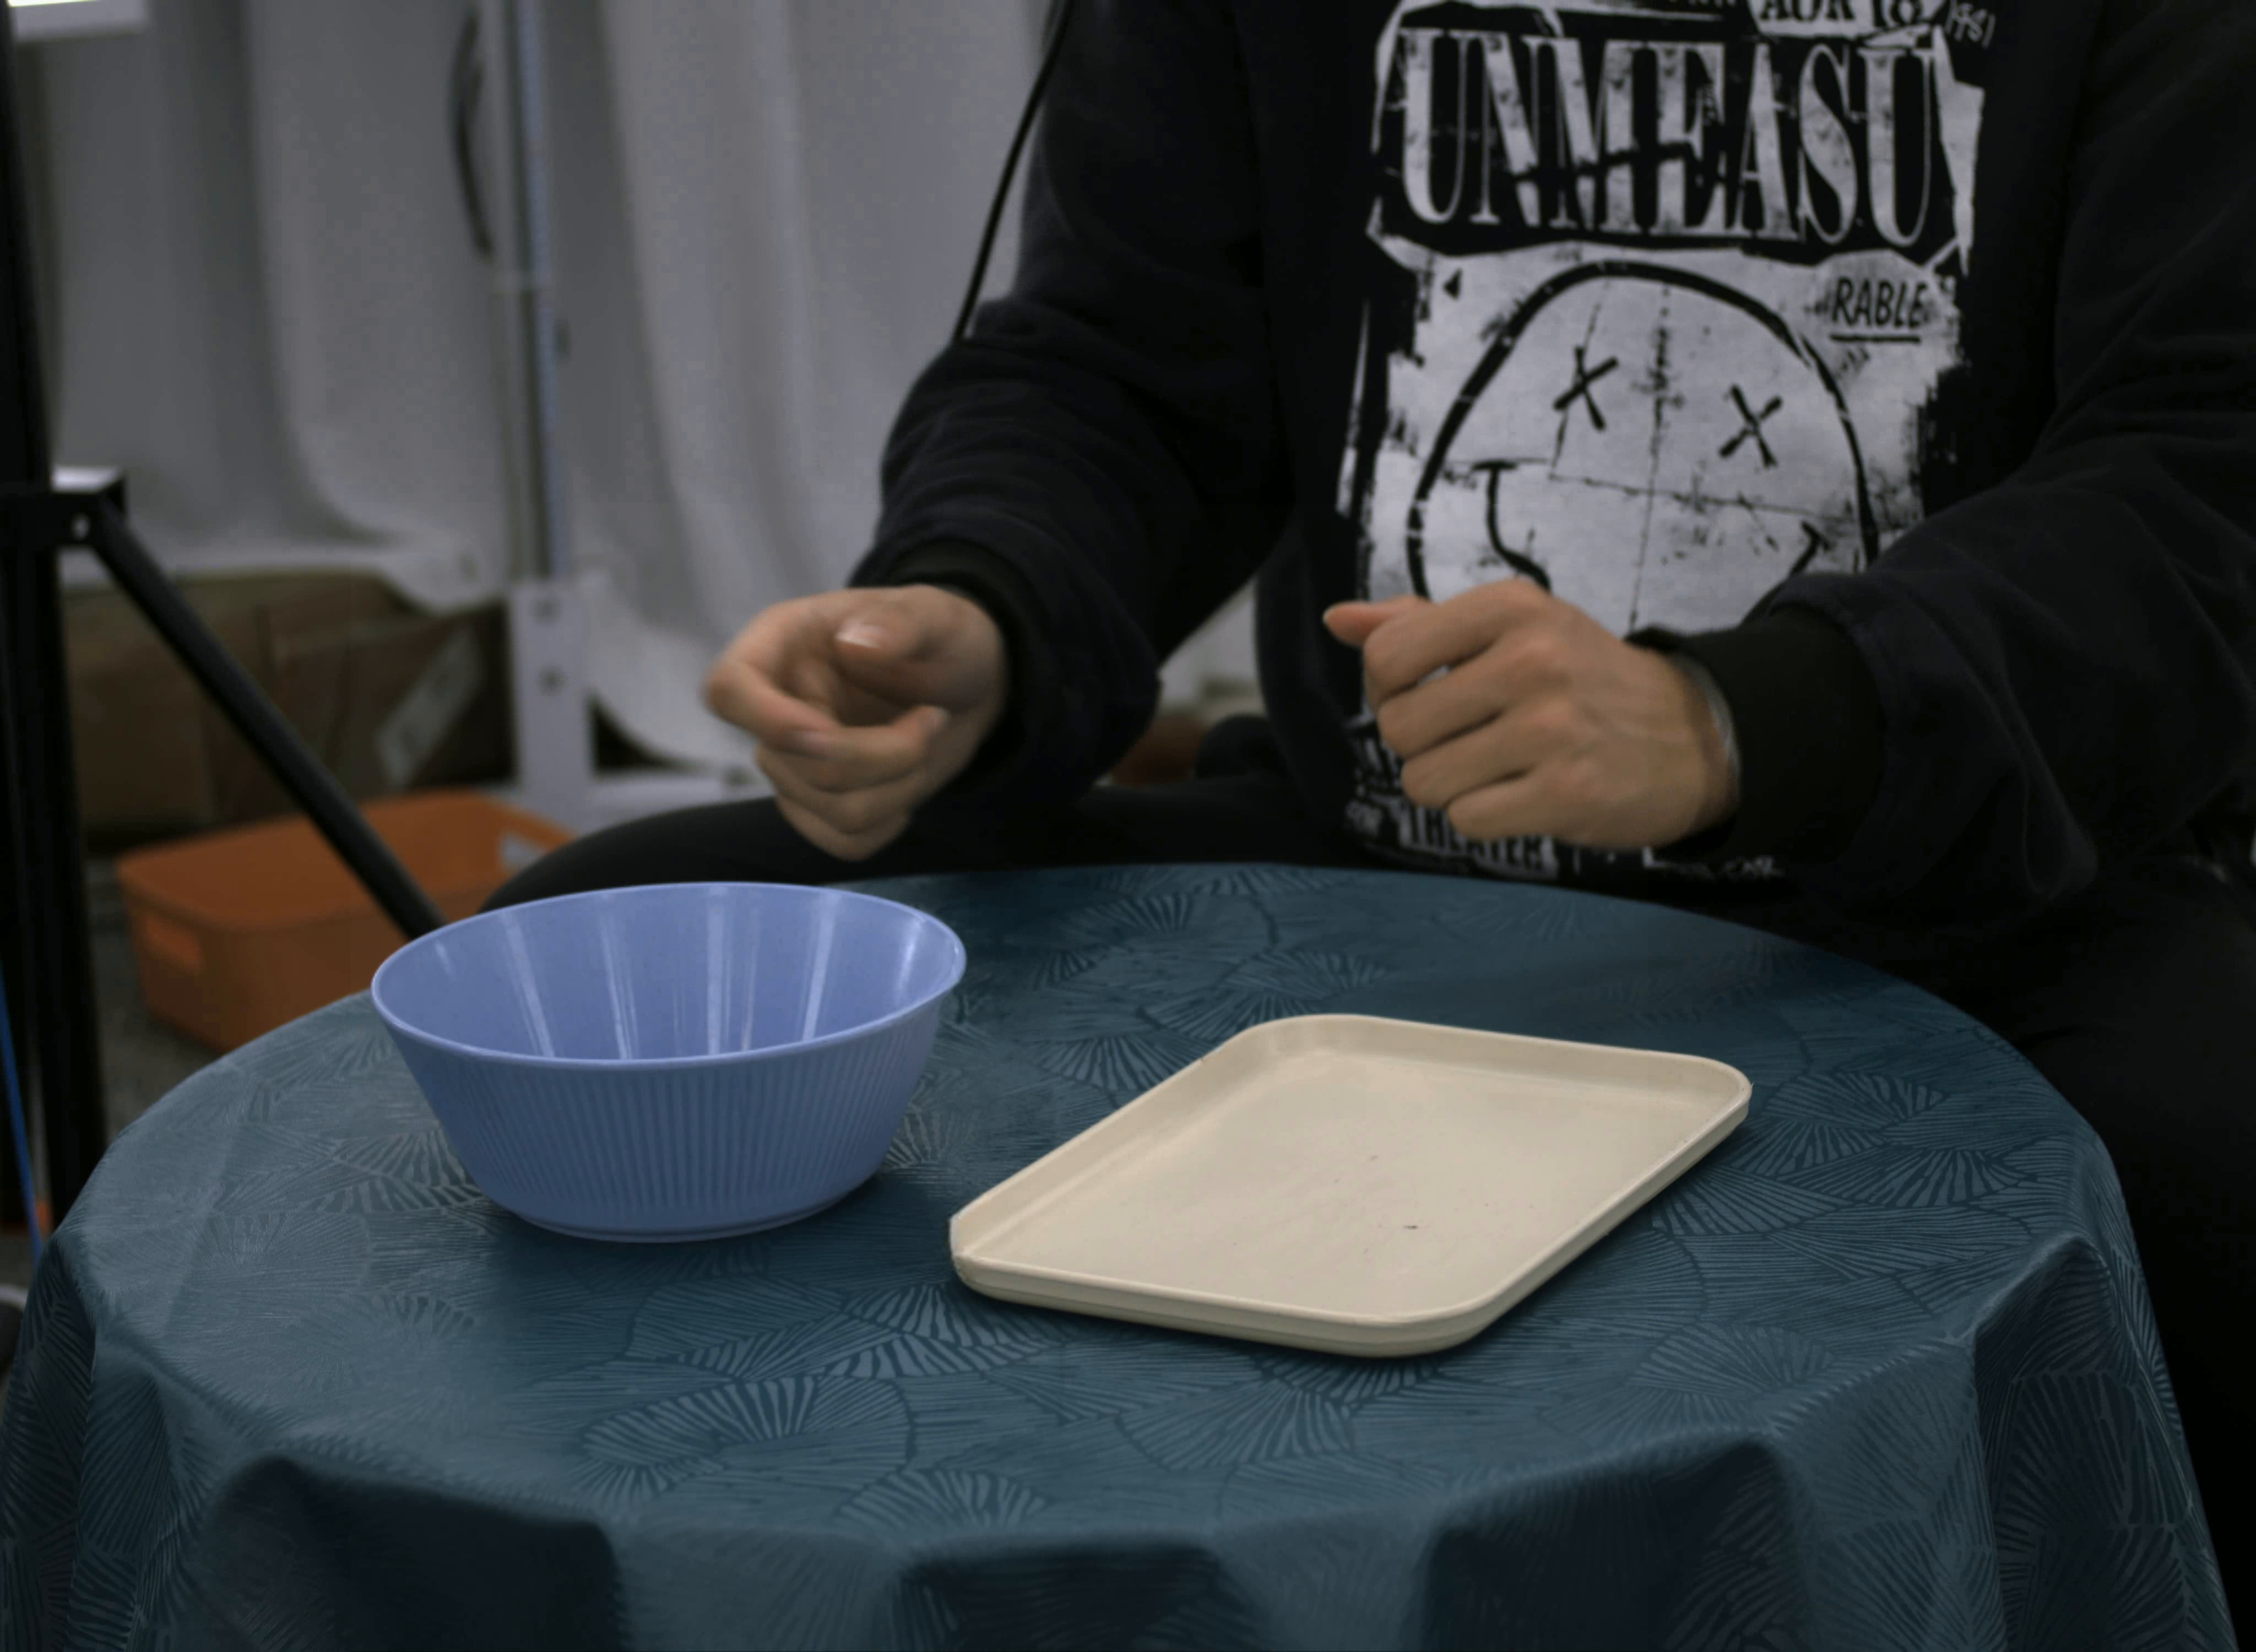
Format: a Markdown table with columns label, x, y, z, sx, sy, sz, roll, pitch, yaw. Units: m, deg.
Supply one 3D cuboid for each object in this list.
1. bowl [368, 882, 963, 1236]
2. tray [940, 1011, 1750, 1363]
| label | x | y | z | sx | sy | sz | roll | pitch | yaw |
| --- | --- | --- | --- | --- | --- | --- | --- | --- | --- |
| bowl | -0.135 | 0.071 | 1.579 | 0.175 | 0.070 | 0.177 | -2 | 16 | -1 |
| tray | 0.067 | 0.103 | 1.533 | 0.174 | 0.017 | 0.235 | 7 | 18 | 29 |
